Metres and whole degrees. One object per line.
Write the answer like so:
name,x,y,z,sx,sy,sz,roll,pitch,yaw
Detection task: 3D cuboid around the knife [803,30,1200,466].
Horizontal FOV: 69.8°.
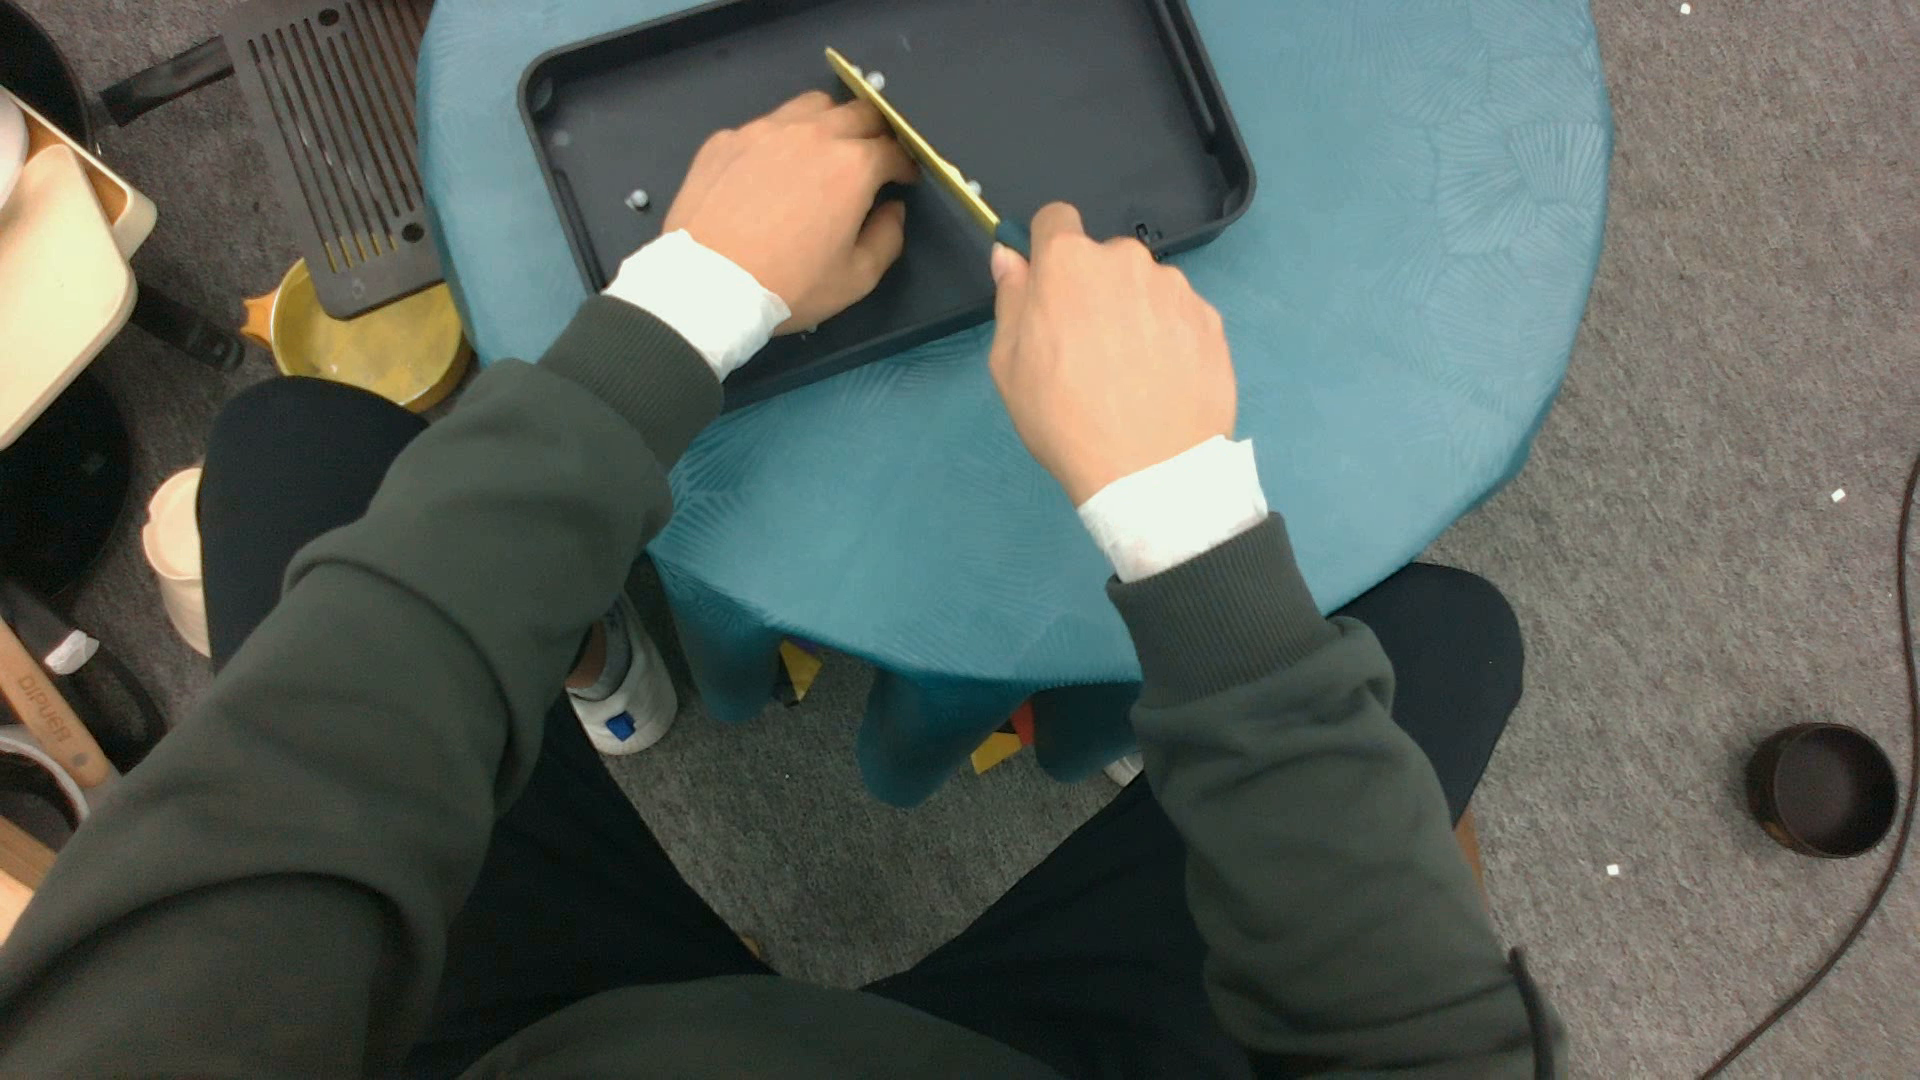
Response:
knife,0.010,-0.137,0.608,0.027,0.081,0.290,-41,67,7

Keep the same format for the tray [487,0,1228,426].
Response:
tray,-0.045,-0.190,0.664,0.318,0.037,0.184,-23,84,-8
